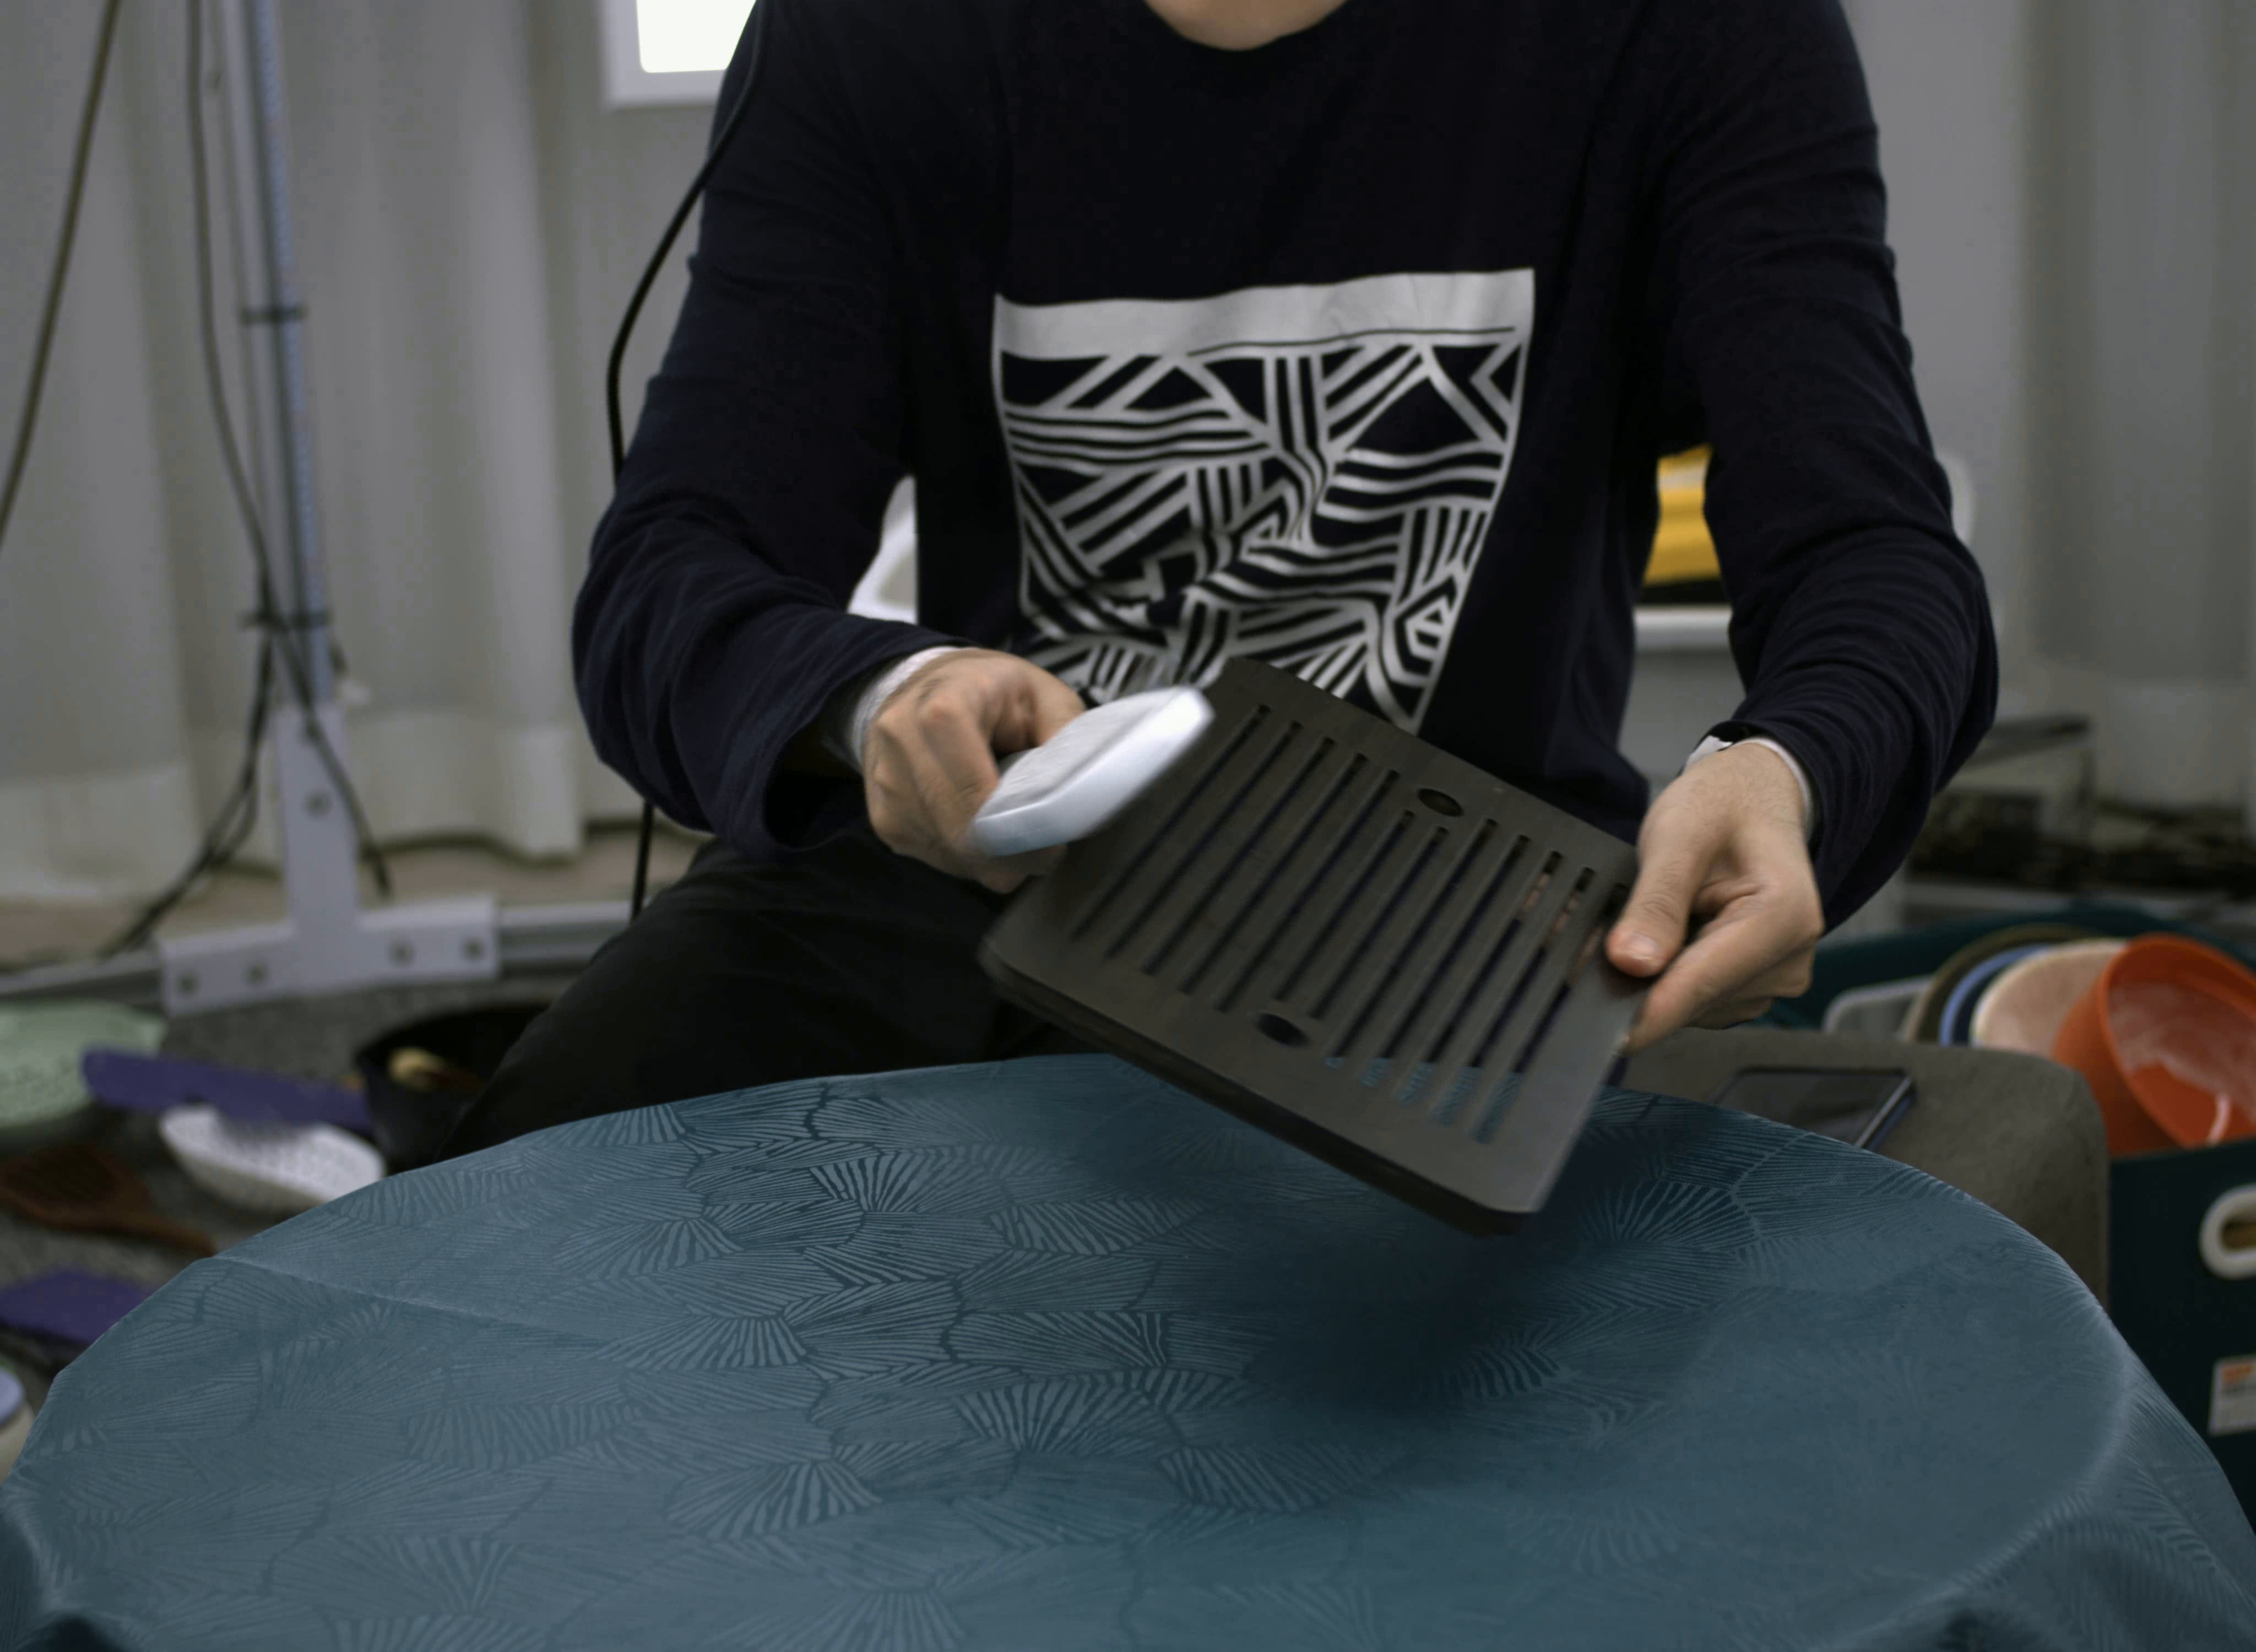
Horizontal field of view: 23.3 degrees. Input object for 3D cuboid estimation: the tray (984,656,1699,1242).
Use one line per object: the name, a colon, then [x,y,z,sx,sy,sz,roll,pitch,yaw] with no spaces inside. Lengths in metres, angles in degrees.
tray: [0.070,0.032,1.635,0.170,0.018,0.307,27,22,6]

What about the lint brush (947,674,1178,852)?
lint brush: [-0.027,-0.017,1.699,0.060,0.021,0.309,-47,5,-7]
